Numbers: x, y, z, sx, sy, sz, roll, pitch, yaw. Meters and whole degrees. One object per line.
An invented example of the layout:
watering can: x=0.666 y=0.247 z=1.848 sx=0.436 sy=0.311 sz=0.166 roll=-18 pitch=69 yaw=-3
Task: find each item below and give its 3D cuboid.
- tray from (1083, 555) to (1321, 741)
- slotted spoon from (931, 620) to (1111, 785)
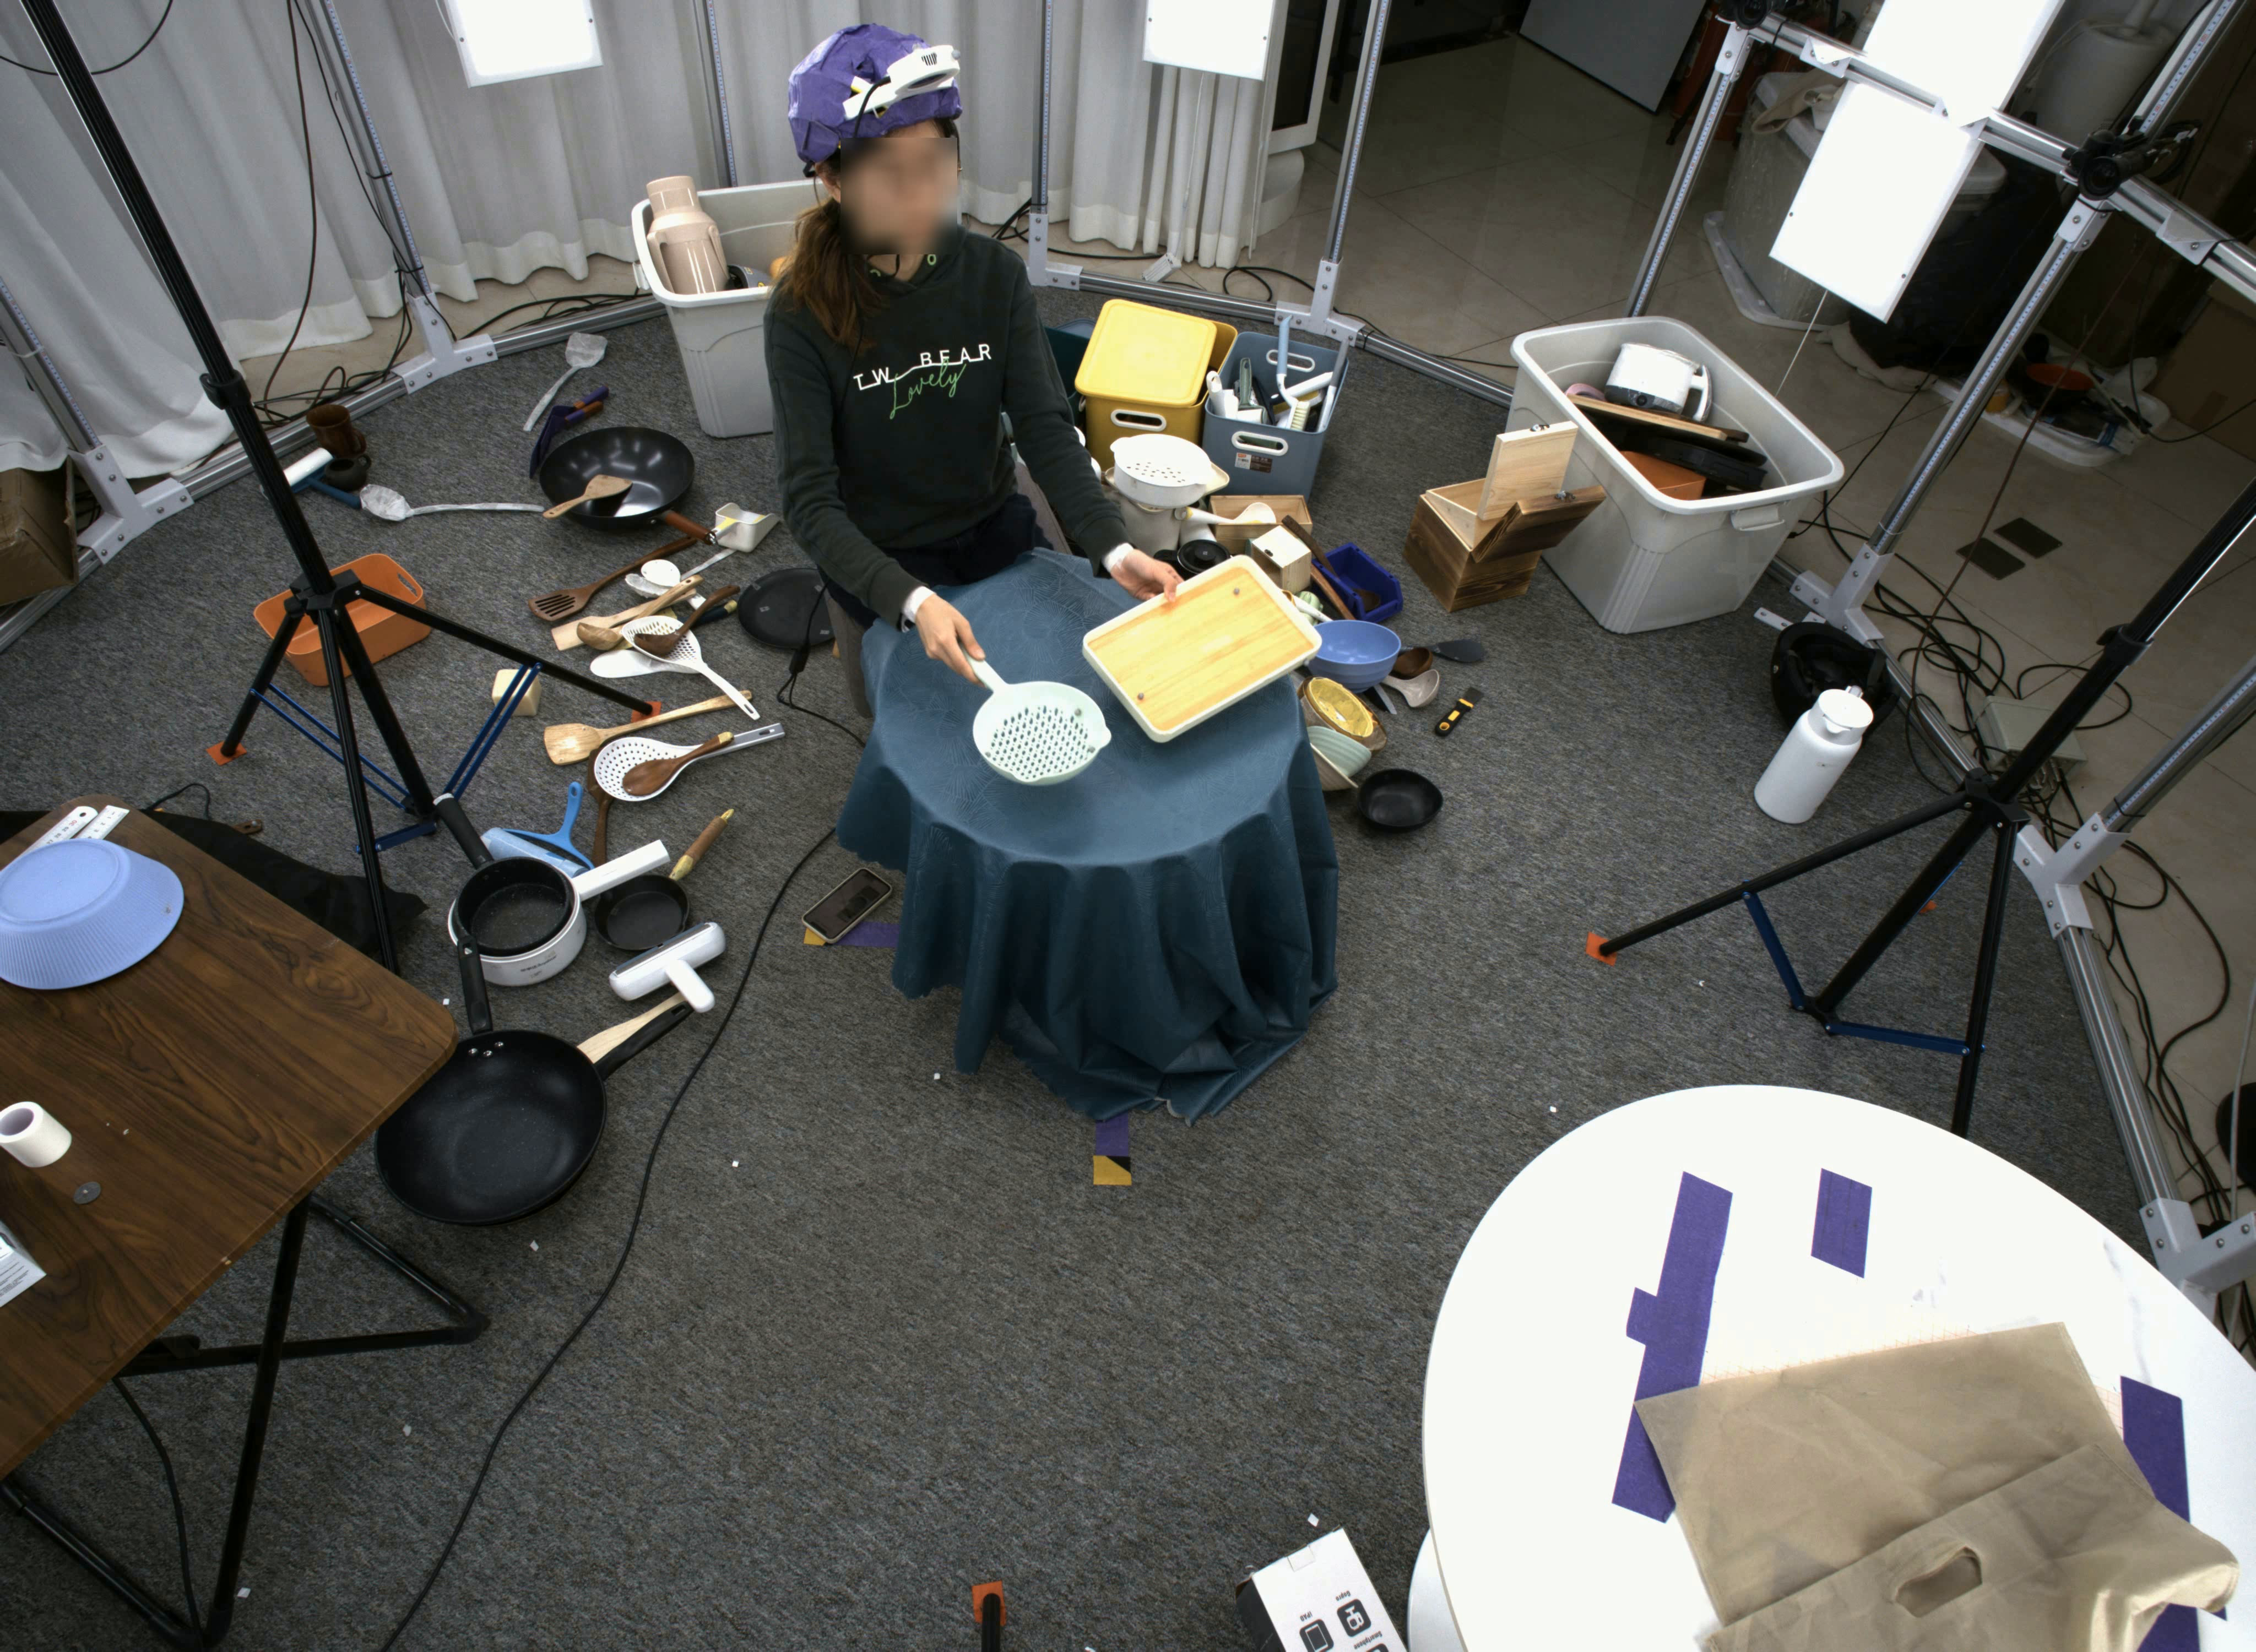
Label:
tray: x=0.105 y=-0.255 z=1.810 sx=0.302 sy=0.027 sz=0.194 roll=-30 pitch=68 yaw=-22
slotted spoon: x=-0.171 y=-0.181 z=1.716 sx=0.170 sy=0.073 sz=0.365 roll=-27 pitch=61 yaw=-23
